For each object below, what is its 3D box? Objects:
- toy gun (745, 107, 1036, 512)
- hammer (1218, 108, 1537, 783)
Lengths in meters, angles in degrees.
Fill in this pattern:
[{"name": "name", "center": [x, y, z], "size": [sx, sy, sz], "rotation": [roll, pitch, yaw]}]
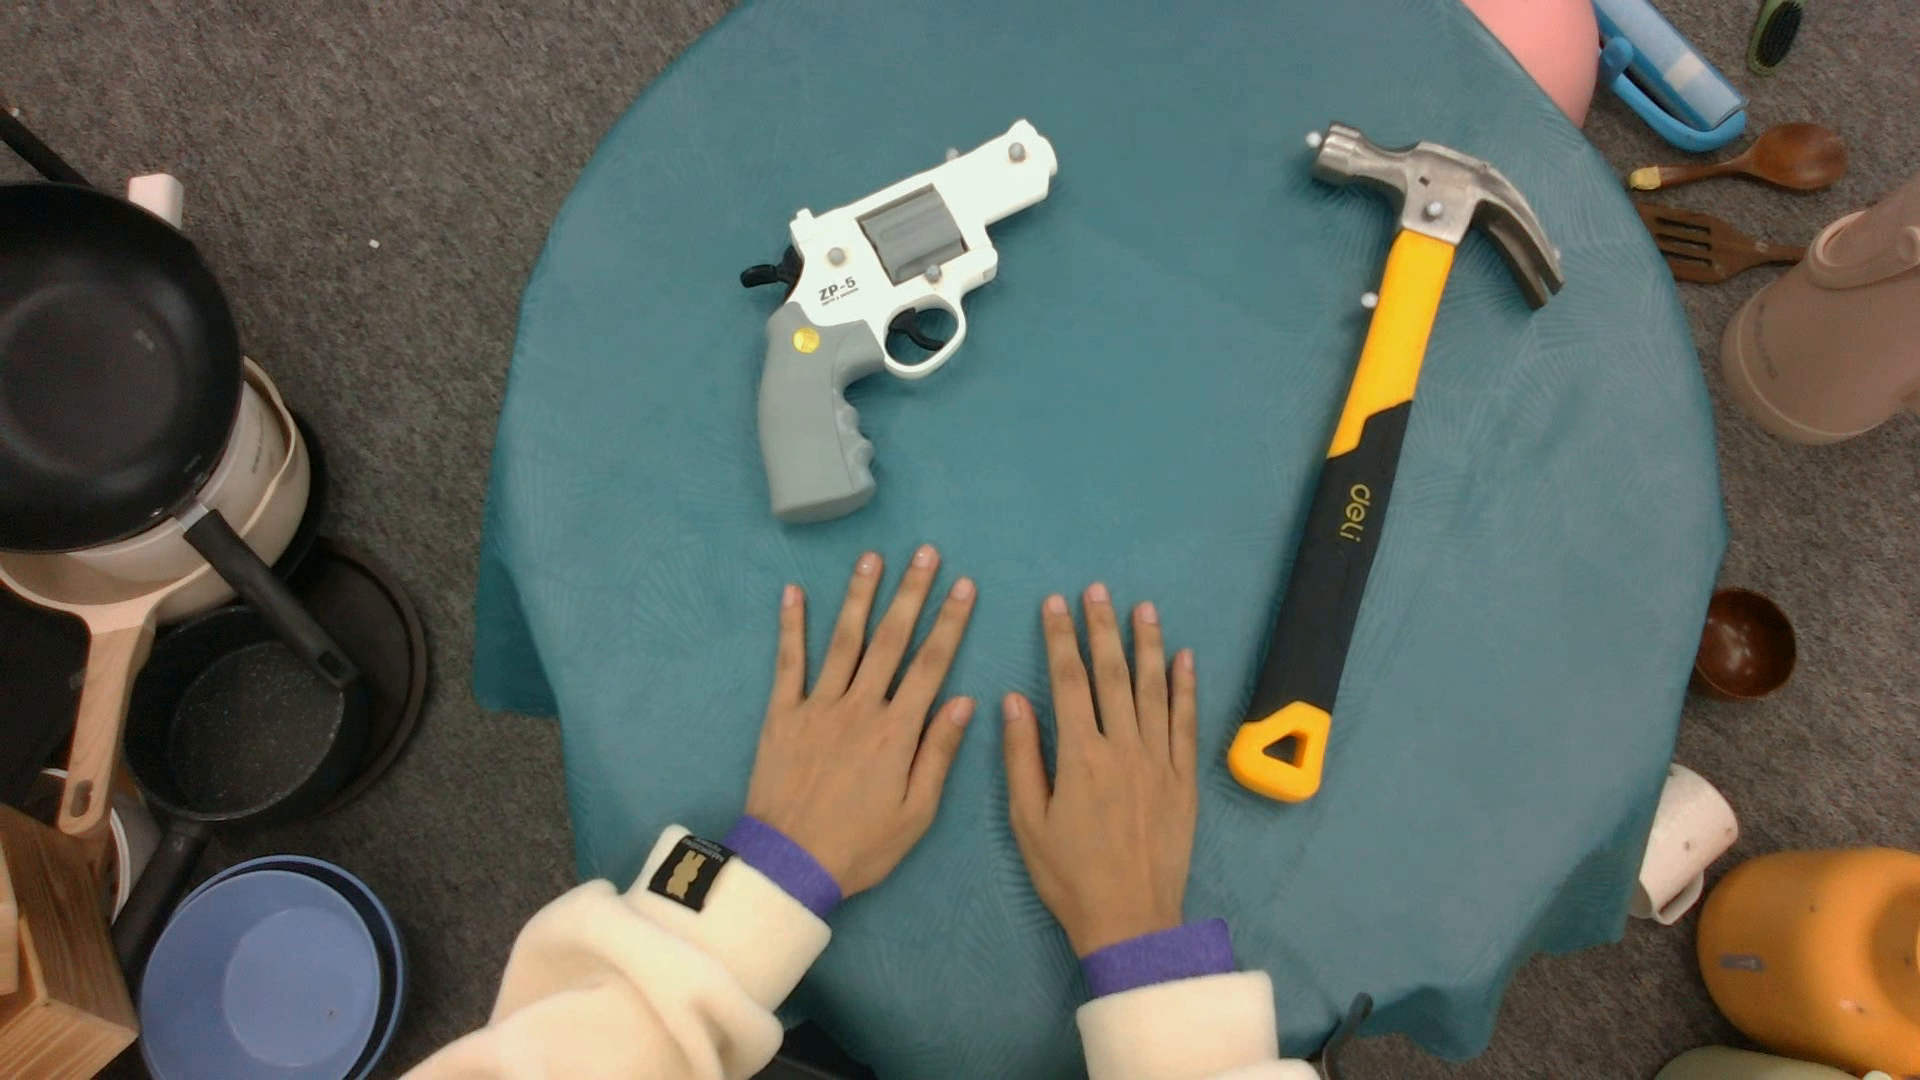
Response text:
[{"name": "toy gun", "center": [-0.031, -0.116, 0.670], "size": [0.209, 0.038, 0.142], "rotation": [-29, 77, -10]}, {"name": "hammer", "center": [0.186, -0.048, 0.663], "size": [0.131, 0.032, 0.339], "rotation": [19, 73, 1]}]
